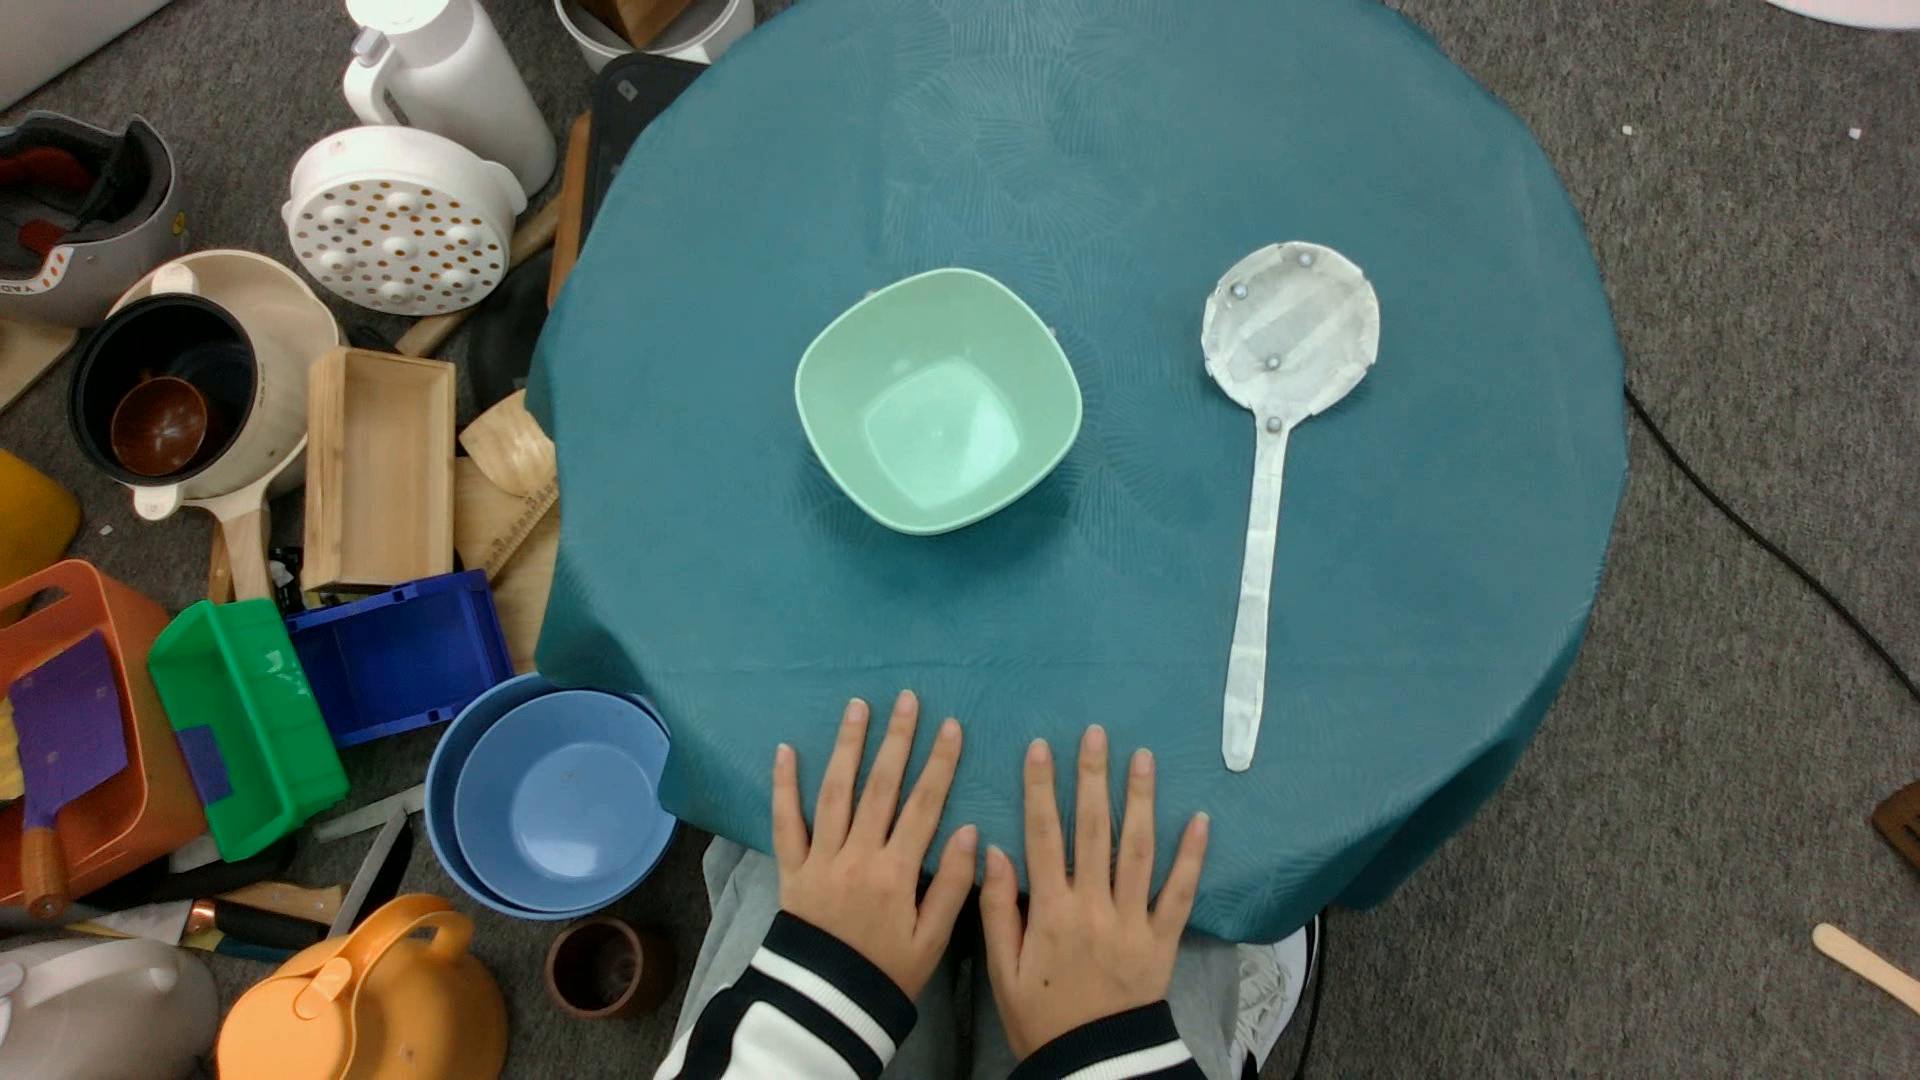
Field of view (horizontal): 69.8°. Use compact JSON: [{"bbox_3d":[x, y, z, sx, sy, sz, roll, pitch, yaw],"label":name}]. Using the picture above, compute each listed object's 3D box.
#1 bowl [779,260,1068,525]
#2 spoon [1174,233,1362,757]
[{"bbox_3d":[-0.019,-0.071,0.738,0.151,0.058,0.152,0,71,1],"label":"bowl"},{"bbox_3d":[0.145,-0.027,0.718,0.100,0.059,0.278,10,71,9],"label":"spoon"}]
